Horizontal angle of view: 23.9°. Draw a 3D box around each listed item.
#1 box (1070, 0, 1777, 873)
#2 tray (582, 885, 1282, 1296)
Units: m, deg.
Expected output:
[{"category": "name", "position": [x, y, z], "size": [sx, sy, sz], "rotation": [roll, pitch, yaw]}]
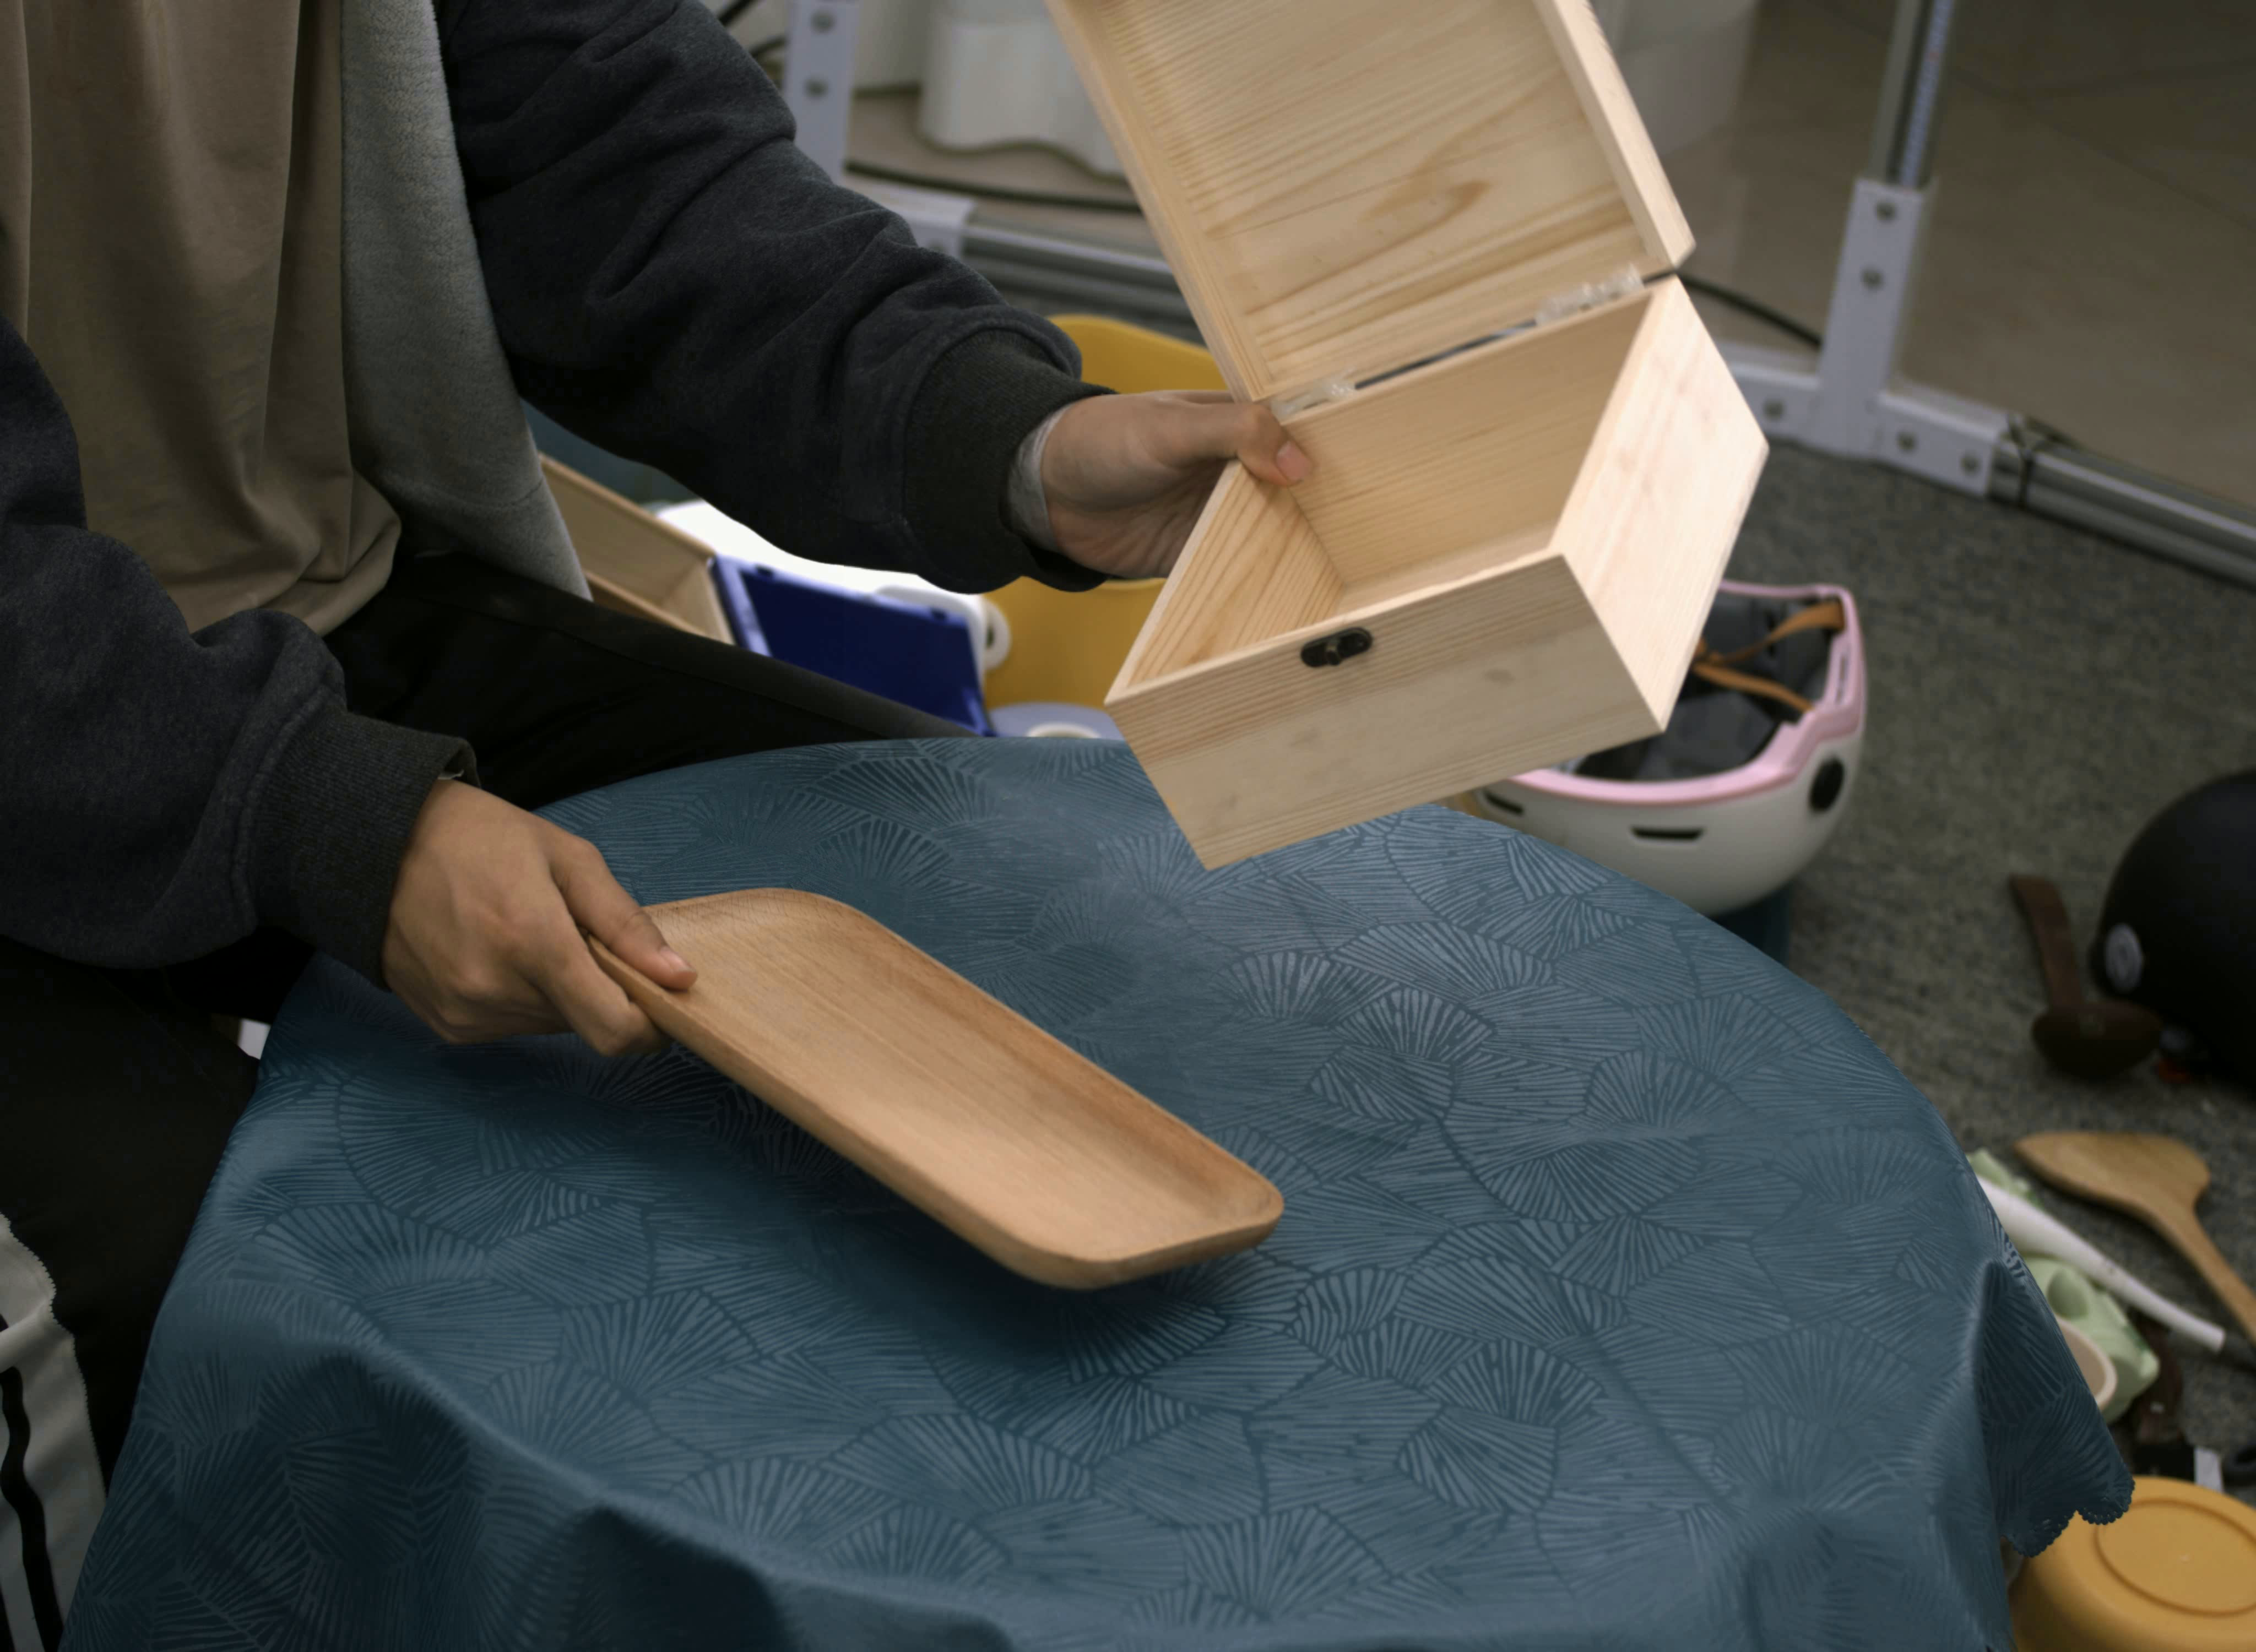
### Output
[{"category": "box", "position": [0.078, -0.173, 1.834], "size": [0.182, 0.252, 0.266], "rotation": [-20, 24, 30]}, {"category": "tray", "position": [-0.069, 0.086, 1.786], "size": [0.252, 0.023, 0.129], "rotation": [32, 23, 36]}]
